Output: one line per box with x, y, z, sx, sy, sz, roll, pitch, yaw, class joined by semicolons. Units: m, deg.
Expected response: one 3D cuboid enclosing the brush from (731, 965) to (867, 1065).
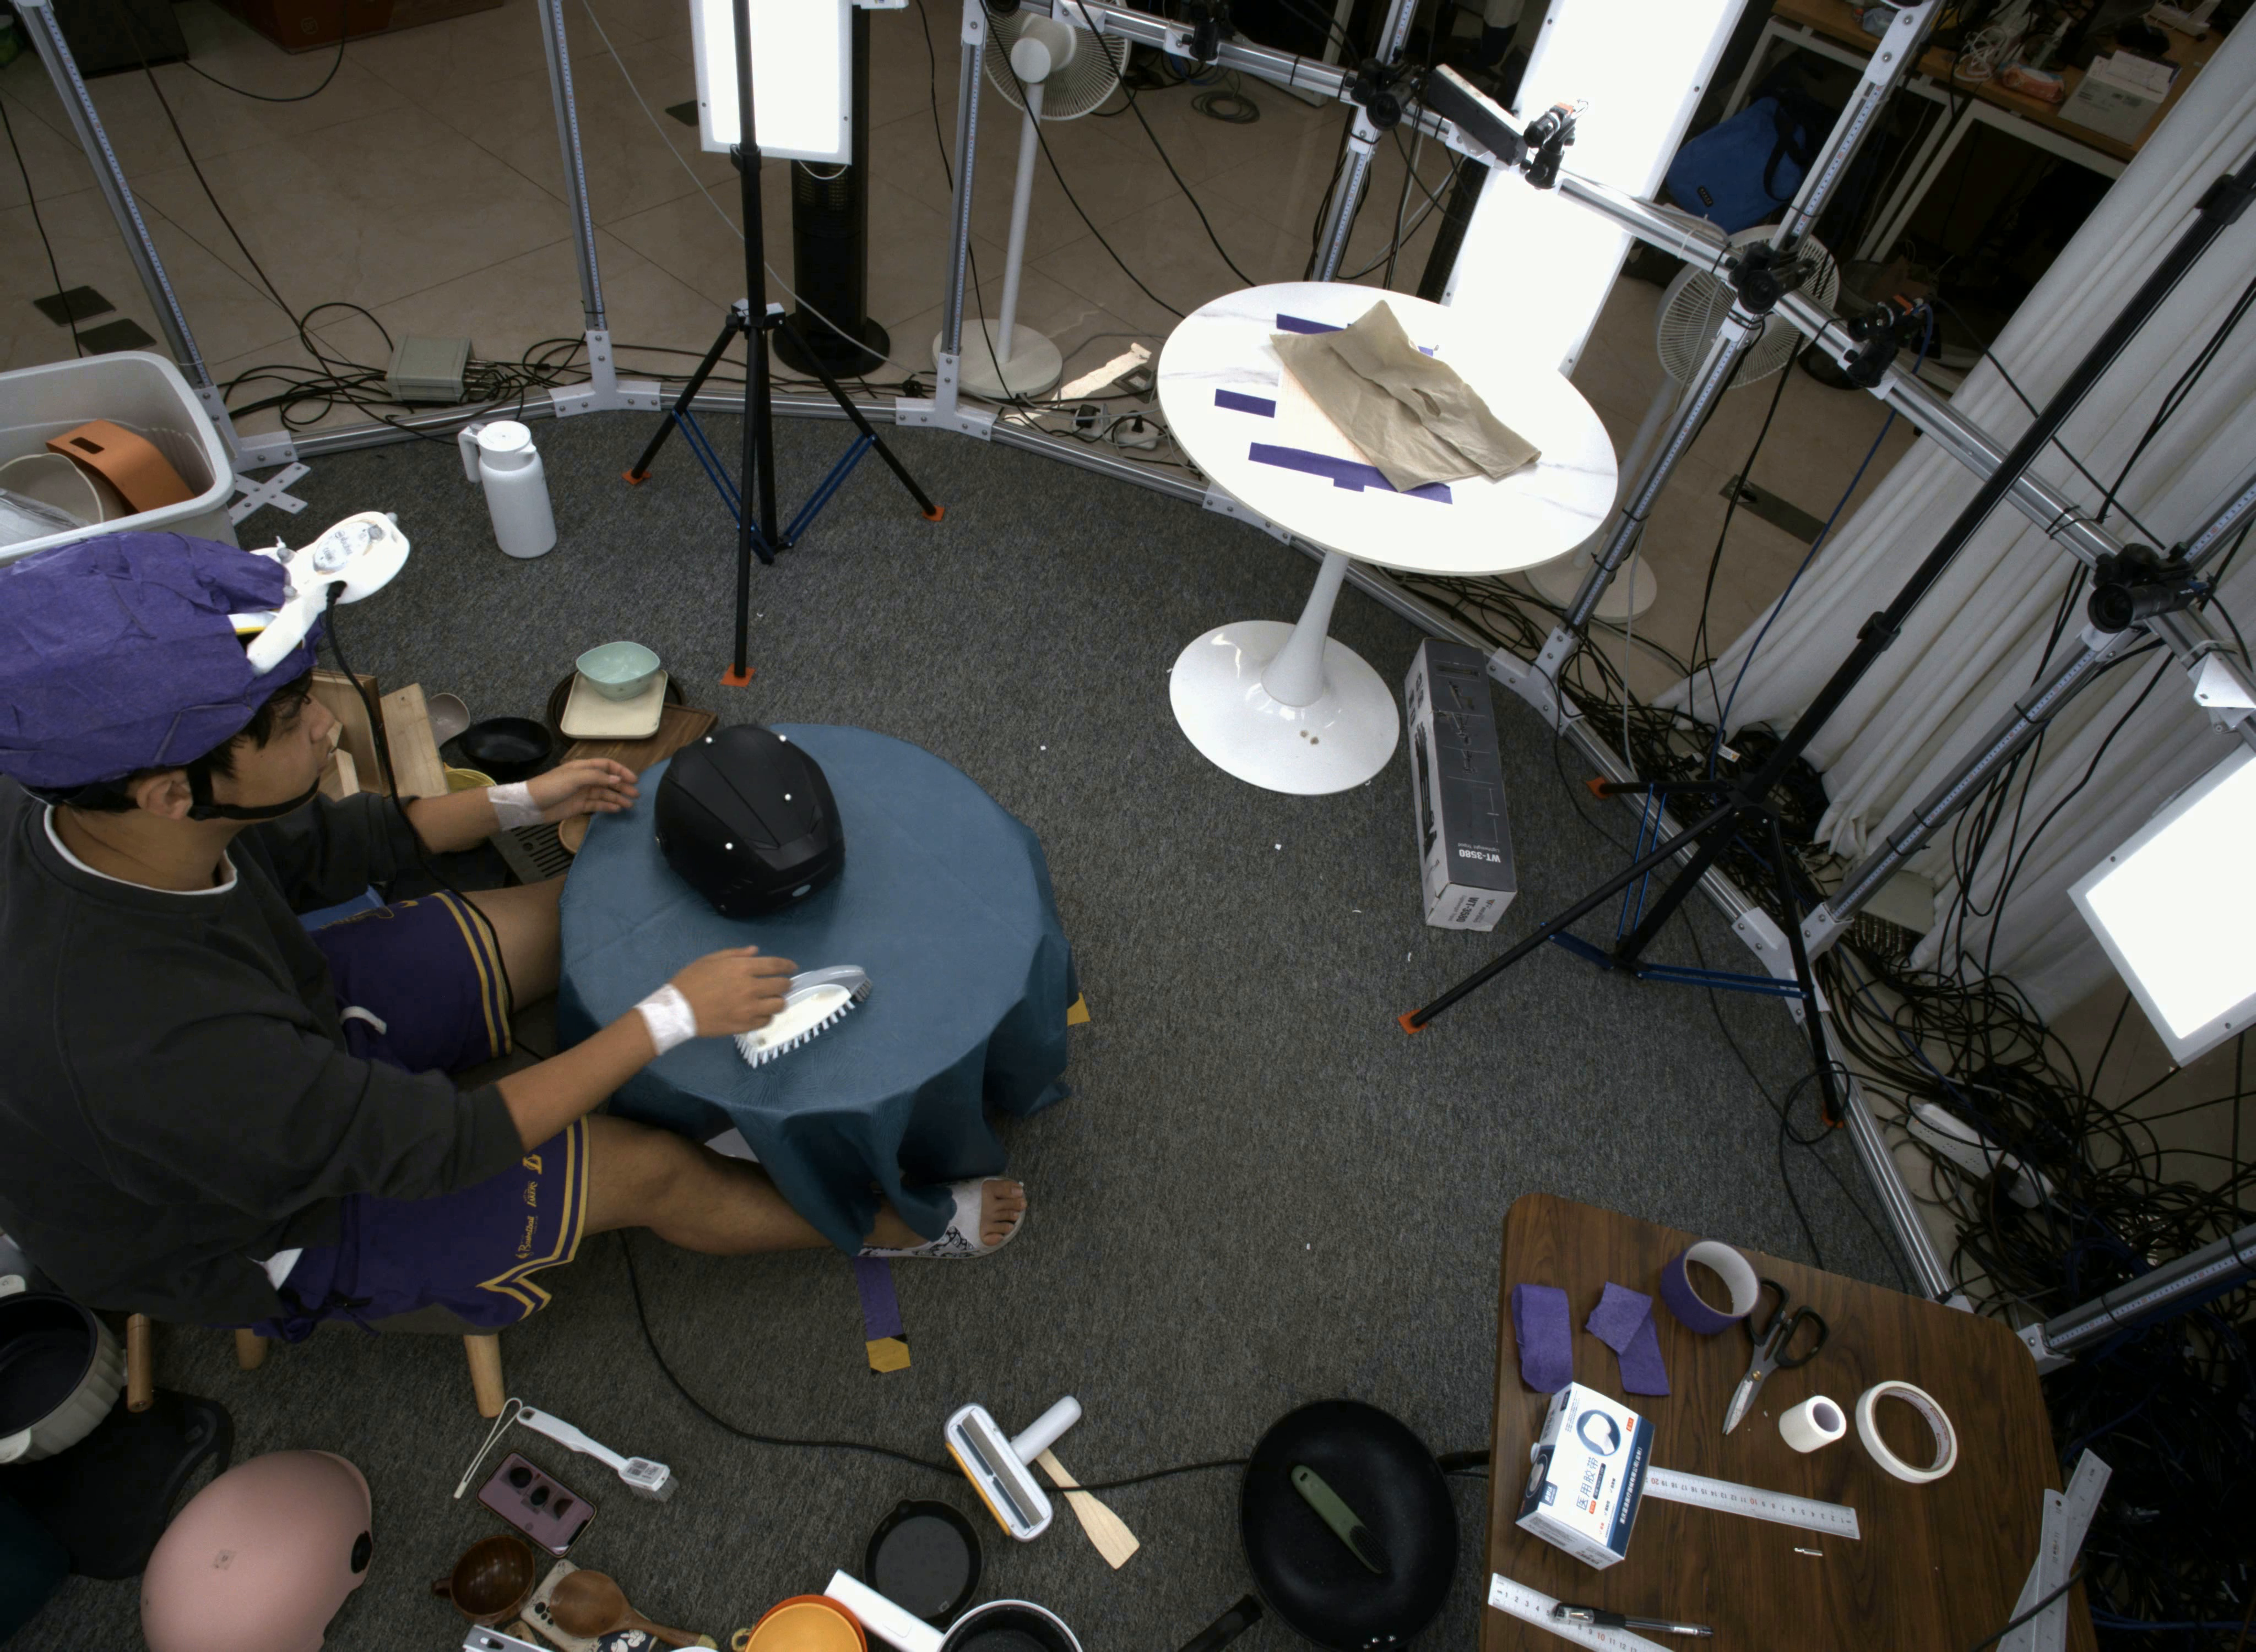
-0.383;0.202;1.530;0.176;0.096;0.060;-26;63;-31;brush

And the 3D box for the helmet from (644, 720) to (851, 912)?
-0.478;-0.030;1.635;0.248;0.175;0.271;-27;68;-30;helmet
